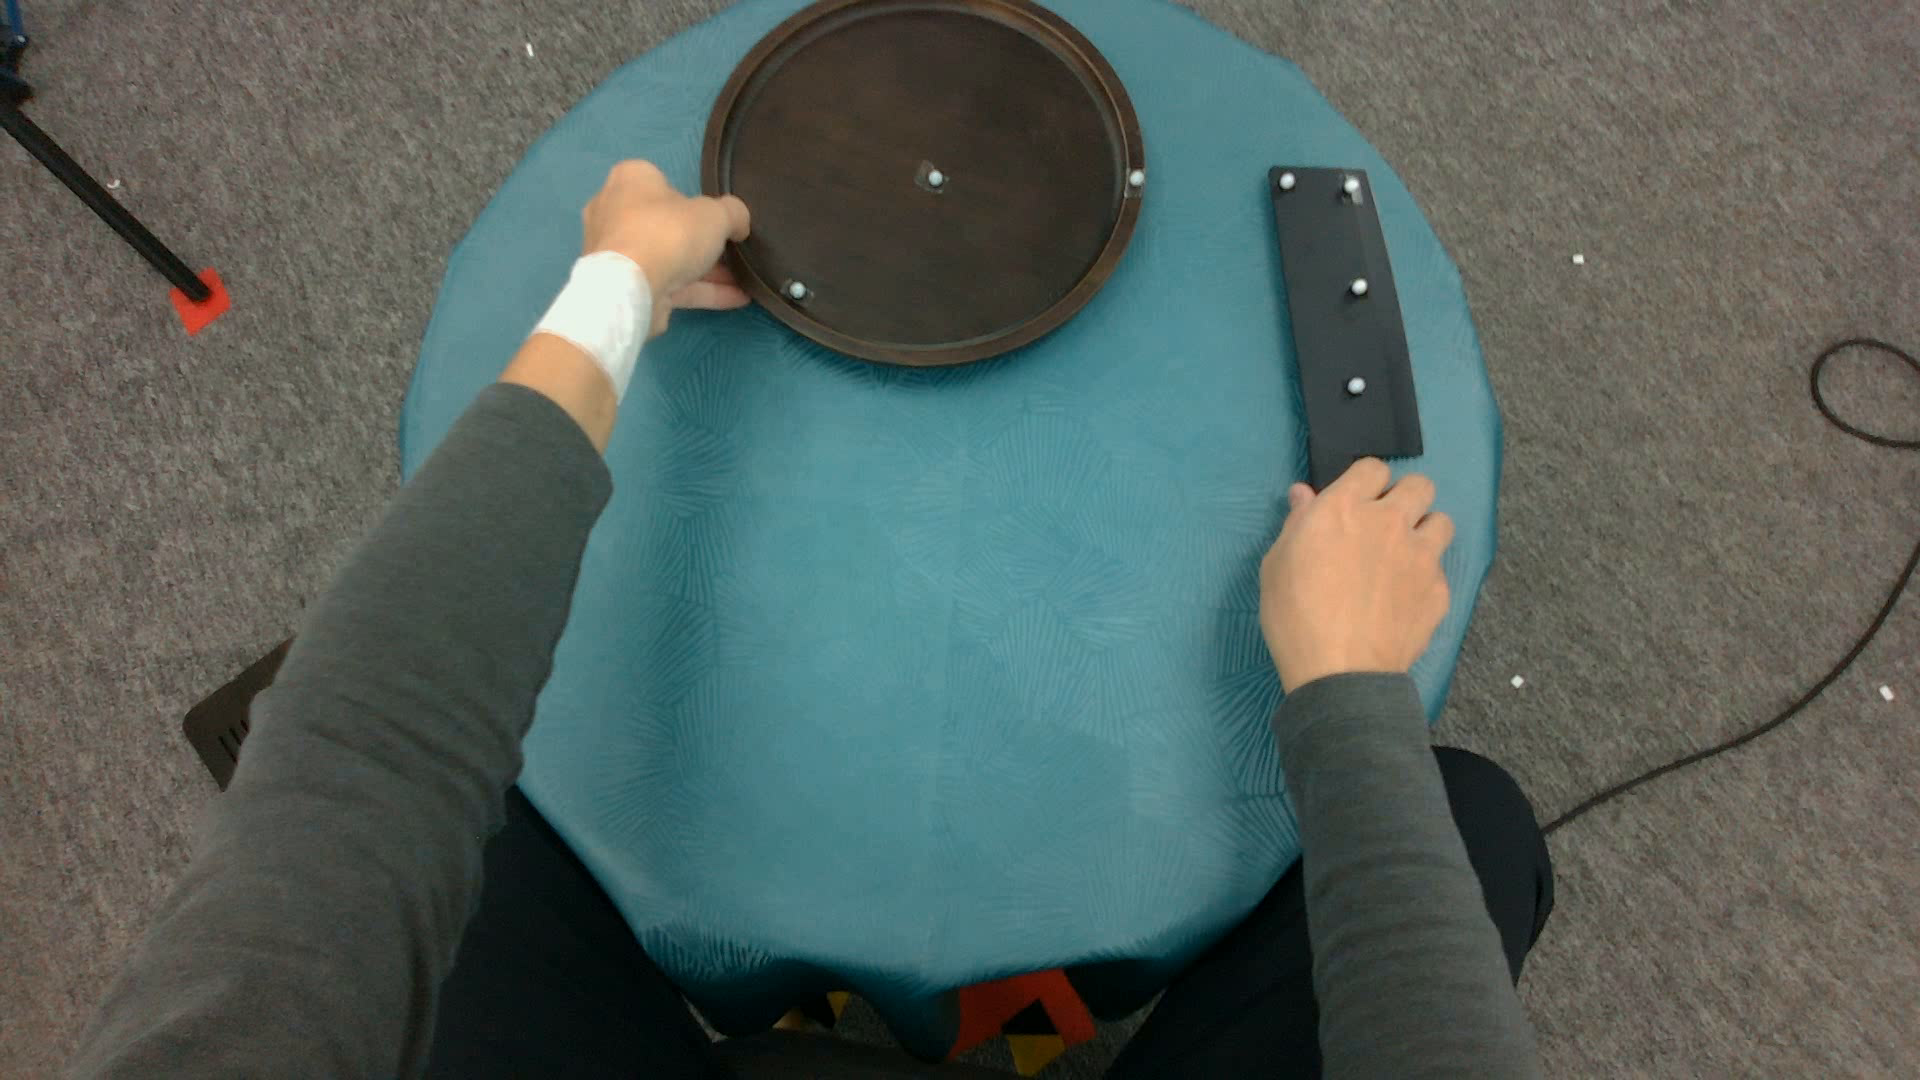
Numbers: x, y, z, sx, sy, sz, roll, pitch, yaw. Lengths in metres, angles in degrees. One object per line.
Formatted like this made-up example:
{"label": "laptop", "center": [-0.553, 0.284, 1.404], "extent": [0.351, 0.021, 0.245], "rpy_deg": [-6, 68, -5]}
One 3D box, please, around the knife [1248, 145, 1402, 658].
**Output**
{"label": "knife", "center": [0.205, -0.085, 0.750], "extent": [0.081, 0.021, 0.303], "rpy_deg": [4, 71, -13]}

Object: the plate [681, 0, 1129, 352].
{"label": "plate", "center": [-0.031, -0.221, 0.784], "extent": [0.255, 0.029, 0.255], "rpy_deg": [1, 72, -4]}
